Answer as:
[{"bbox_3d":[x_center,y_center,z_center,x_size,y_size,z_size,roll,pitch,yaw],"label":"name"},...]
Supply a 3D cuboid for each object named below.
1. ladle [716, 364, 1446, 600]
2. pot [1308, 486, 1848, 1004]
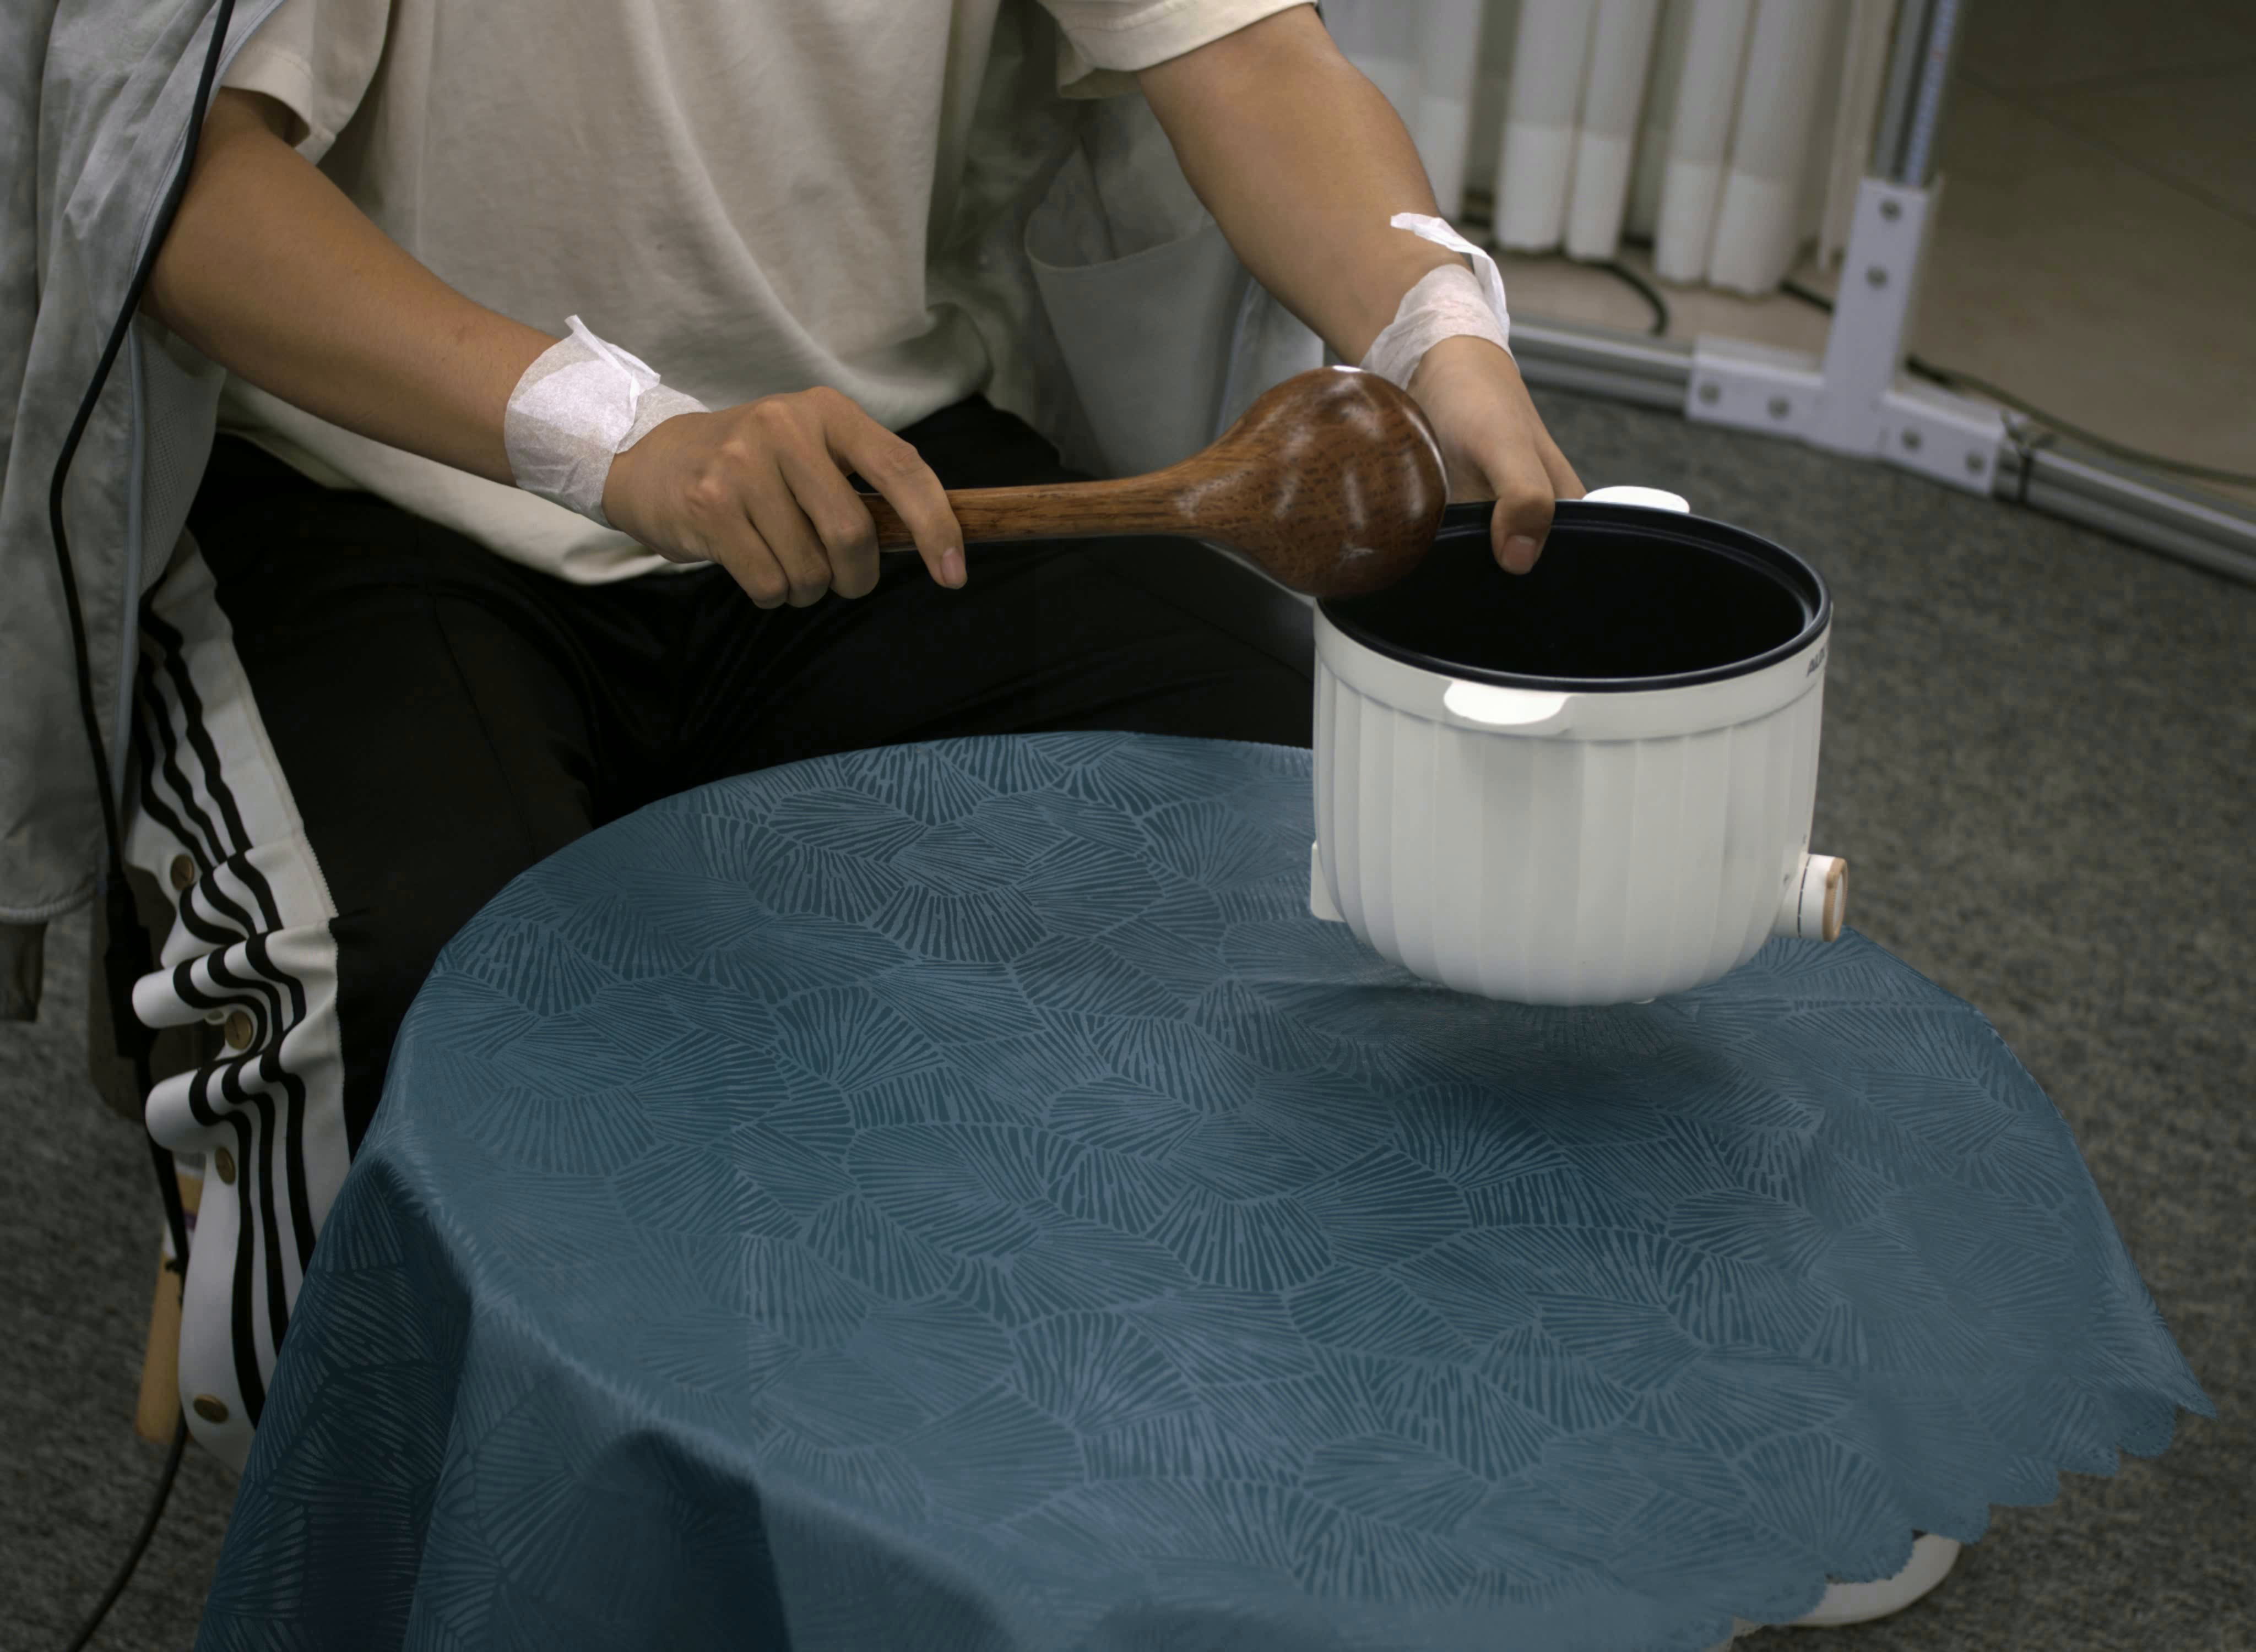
[{"bbox_3d":[-0.017,-0.112,1.899,0.275,0.082,0.076,-5,-1,33],"label":"ladle"},{"bbox_3d":[0.160,-0.023,1.889,0.191,0.142,0.241,4,24,17],"label":"pot"}]
